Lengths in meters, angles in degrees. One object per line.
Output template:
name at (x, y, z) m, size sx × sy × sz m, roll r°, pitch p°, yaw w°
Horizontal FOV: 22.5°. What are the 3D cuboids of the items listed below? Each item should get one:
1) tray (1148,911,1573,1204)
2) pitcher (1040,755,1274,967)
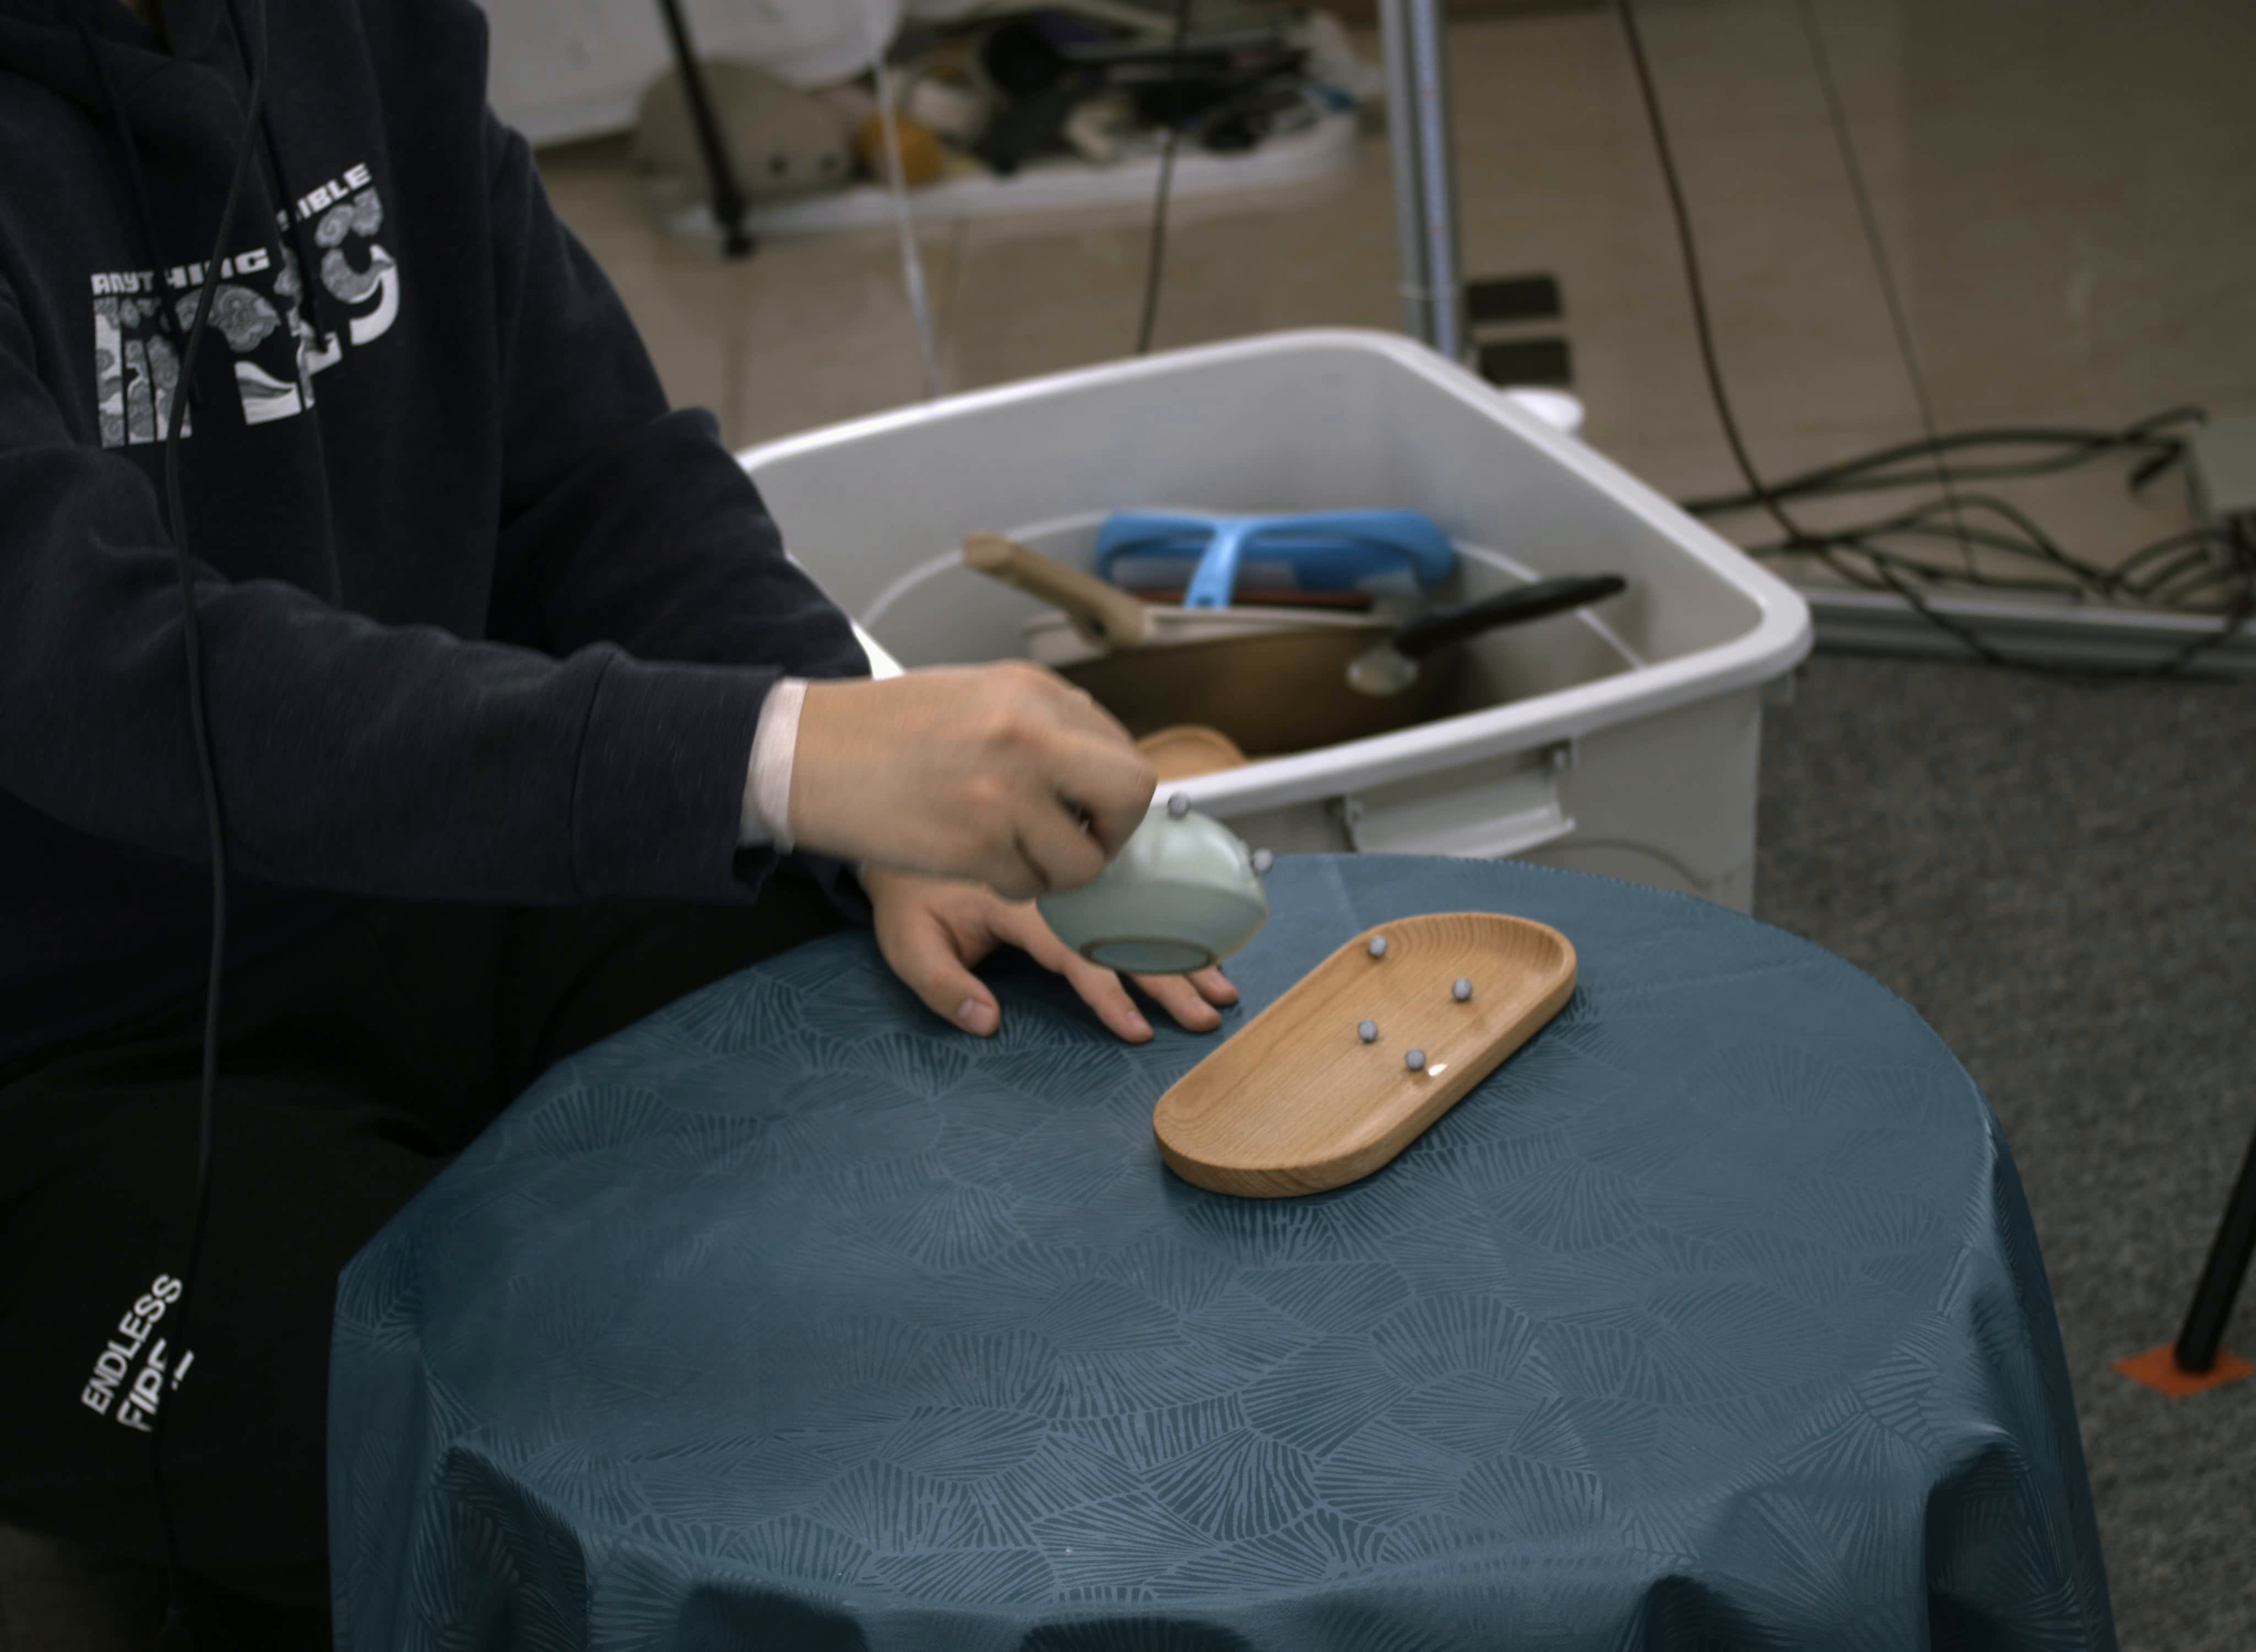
tray at (0.093, 0.089, 2.216) m, size 0.101 × 0.020 × 0.228 m, roll 8°, pitch 30°, yaw 32°
pitcher at (0.006, 0.014, 2.069) m, size 0.086 × 0.060 × 0.109 m, roll -6°, pitch -19°, yaw 26°
